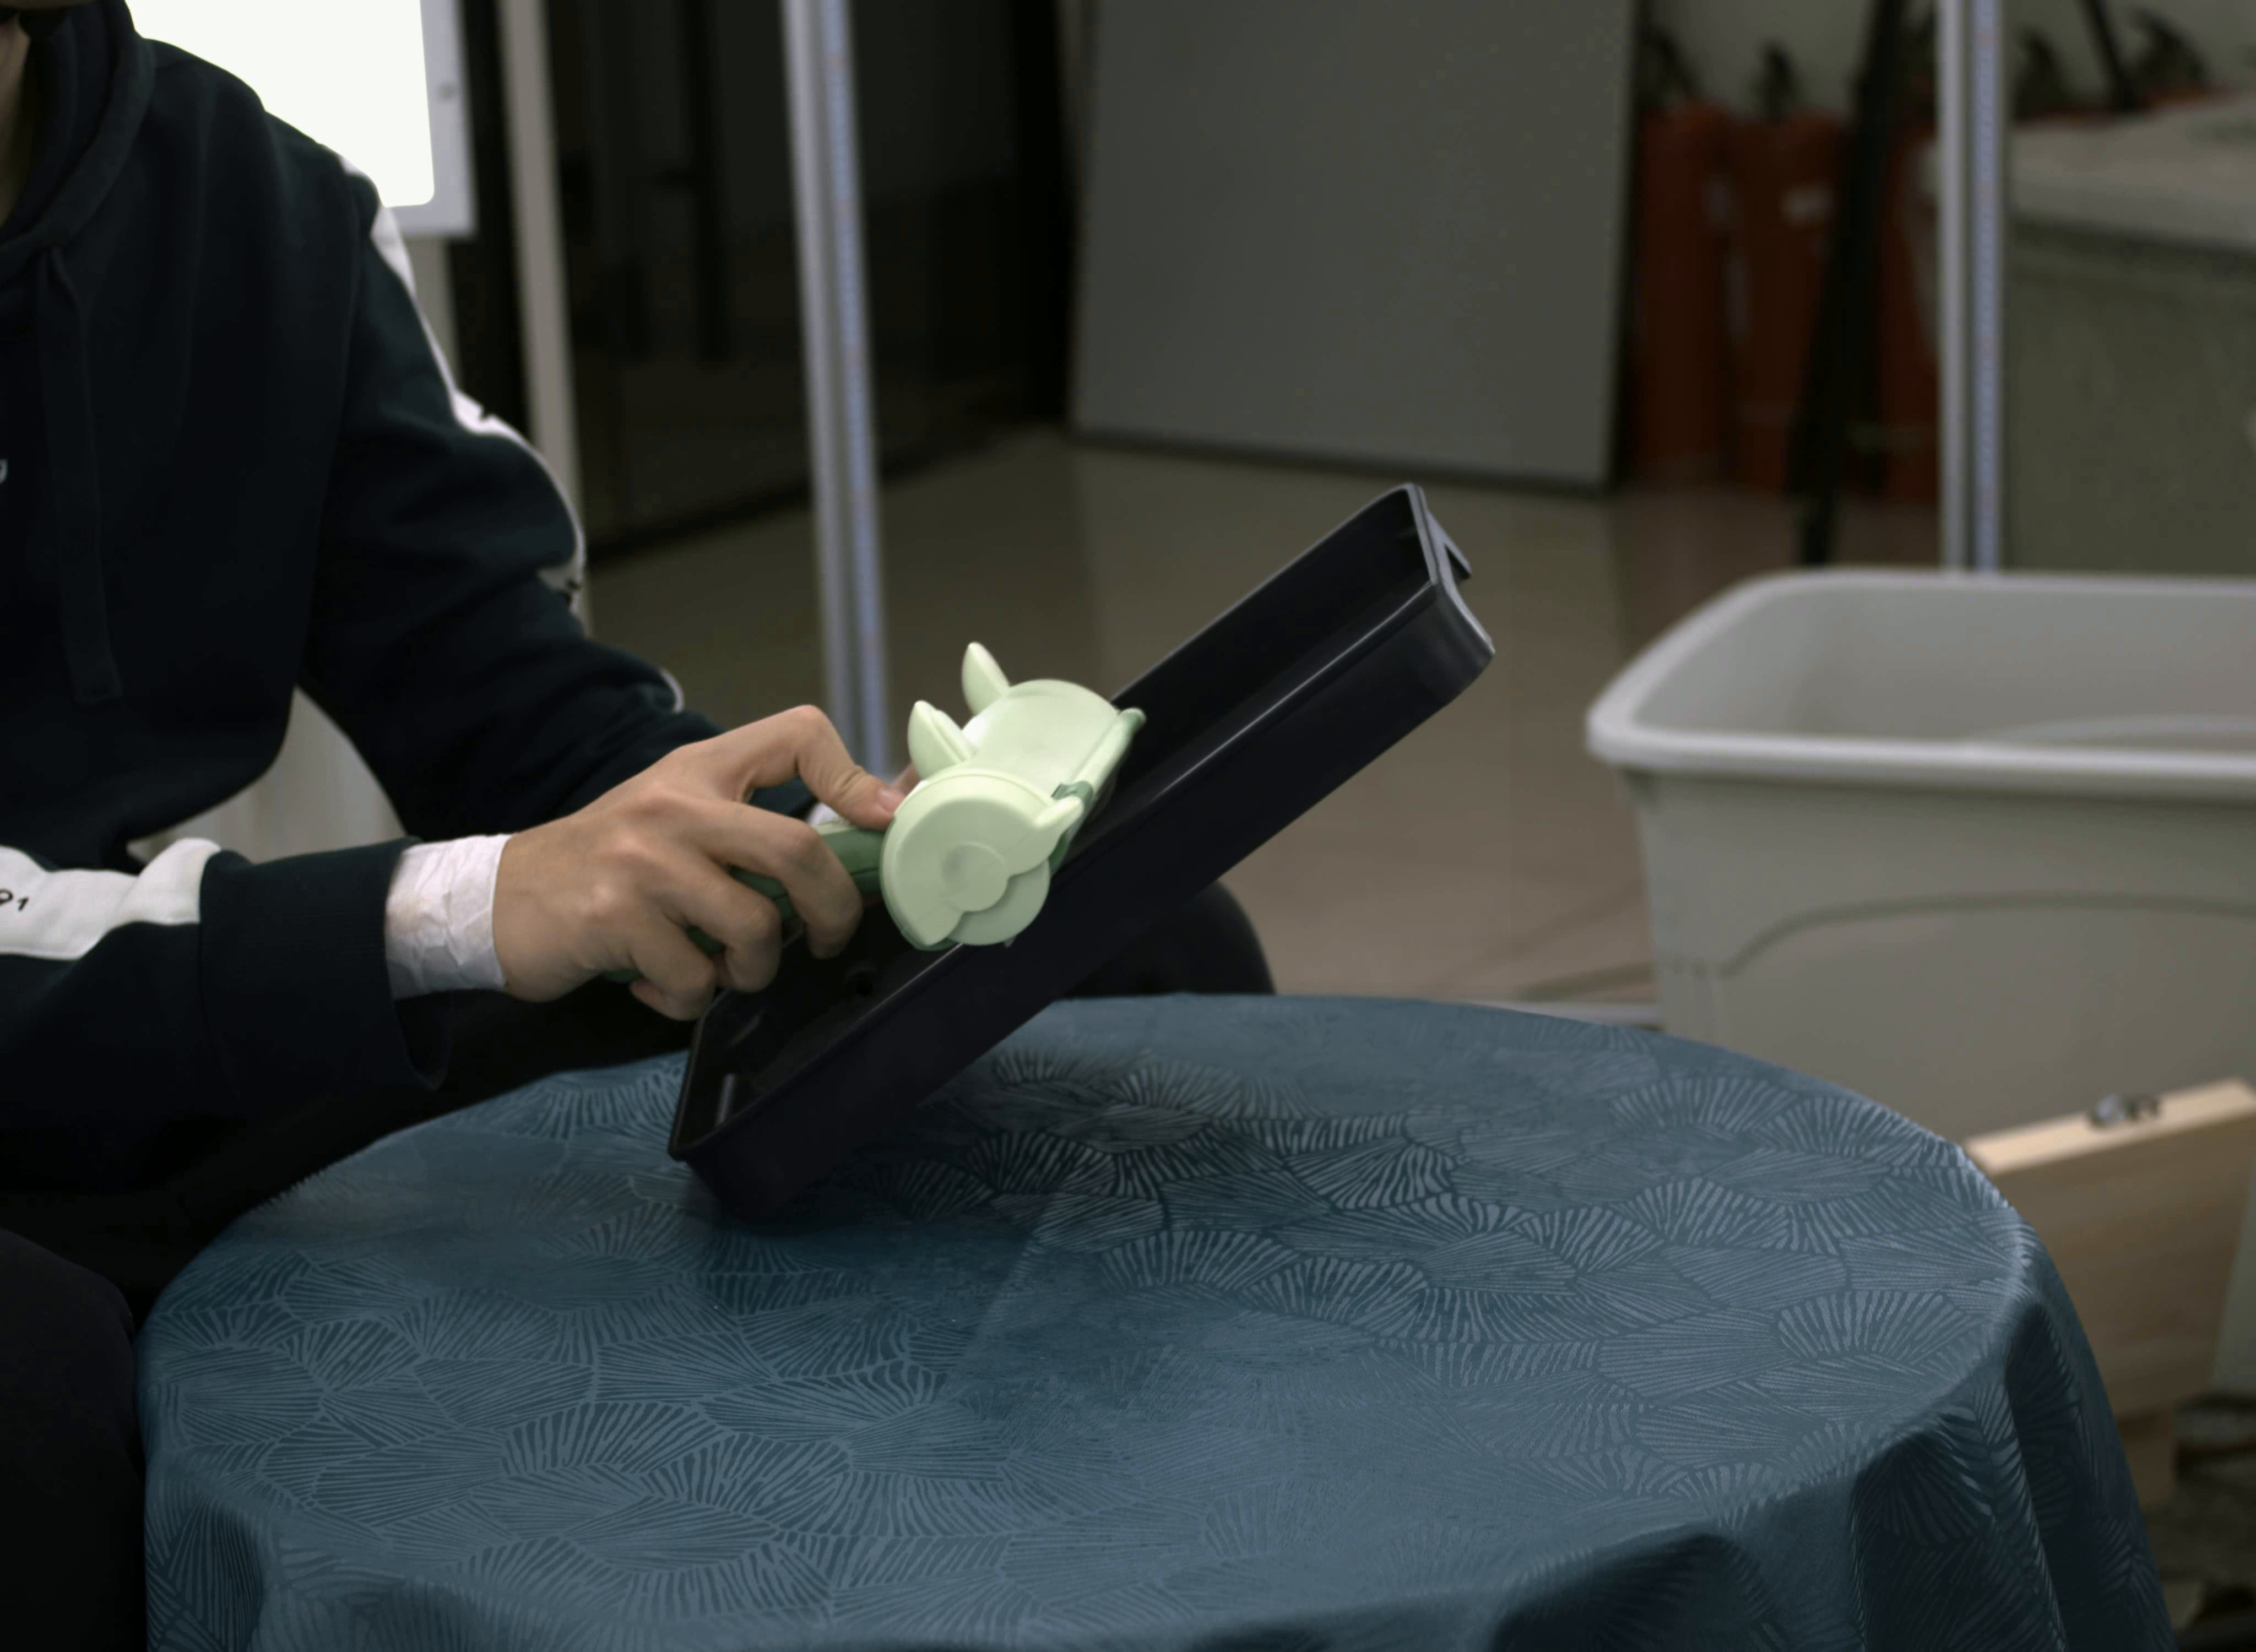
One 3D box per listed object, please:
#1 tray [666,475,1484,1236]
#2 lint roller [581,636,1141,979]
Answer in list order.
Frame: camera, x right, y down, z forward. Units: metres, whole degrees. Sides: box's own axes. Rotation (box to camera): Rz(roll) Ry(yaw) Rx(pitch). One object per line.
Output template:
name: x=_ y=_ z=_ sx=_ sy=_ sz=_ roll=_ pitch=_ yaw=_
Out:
tray: x=-0.017 y=0.007 z=1.797 sx=0.318 sy=0.037 sz=0.184 roll=-38 pitch=11 yaw=10
lint roller: x=-0.093 y=-0.004 z=1.726 sx=0.182 sy=0.083 sz=0.198 roll=-10 pitch=9 yaw=9
